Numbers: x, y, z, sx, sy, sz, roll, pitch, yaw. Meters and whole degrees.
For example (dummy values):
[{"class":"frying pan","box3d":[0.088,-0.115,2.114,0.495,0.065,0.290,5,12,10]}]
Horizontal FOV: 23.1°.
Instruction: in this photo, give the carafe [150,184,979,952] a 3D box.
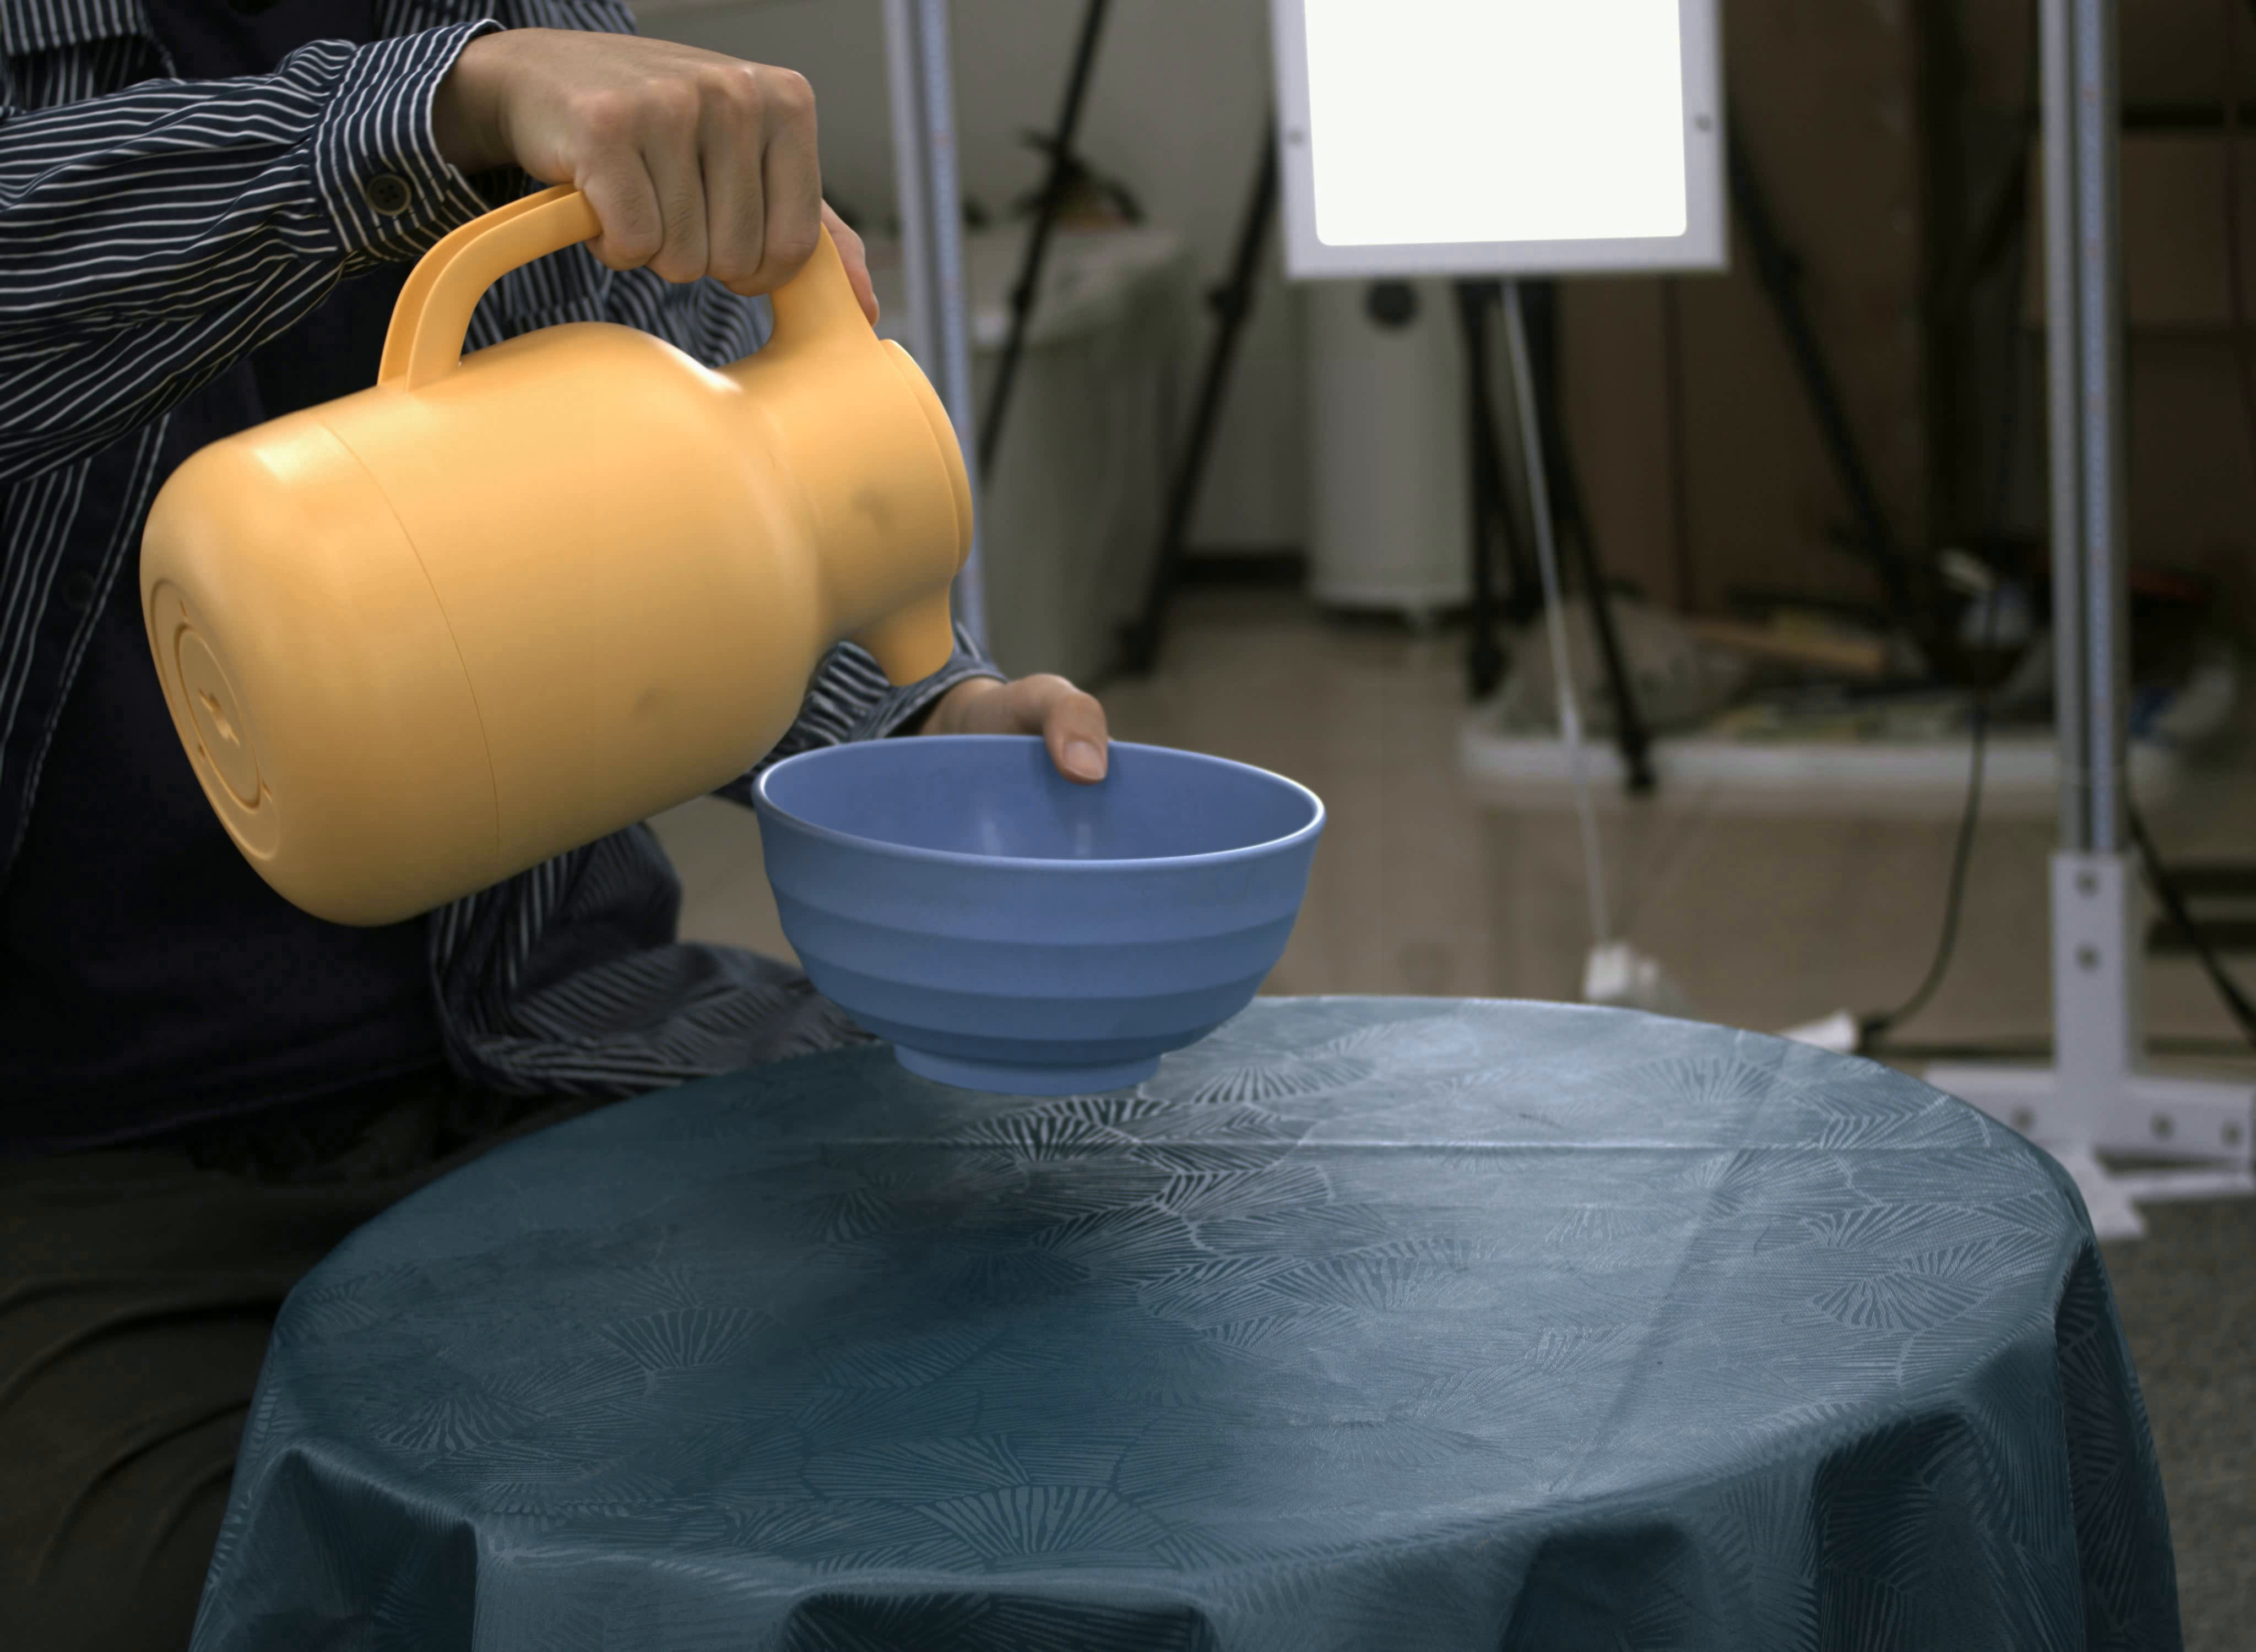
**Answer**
[{"class":"carafe","box3d":[-0.183,-0.090,1.789,0.256,0.202,0.166,-23,19,-19]}]

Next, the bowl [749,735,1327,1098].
[{"class":"bowl","box3d":[-0.032,0.035,1.874,0.196,0.096,0.196,2,13,-2]}]
